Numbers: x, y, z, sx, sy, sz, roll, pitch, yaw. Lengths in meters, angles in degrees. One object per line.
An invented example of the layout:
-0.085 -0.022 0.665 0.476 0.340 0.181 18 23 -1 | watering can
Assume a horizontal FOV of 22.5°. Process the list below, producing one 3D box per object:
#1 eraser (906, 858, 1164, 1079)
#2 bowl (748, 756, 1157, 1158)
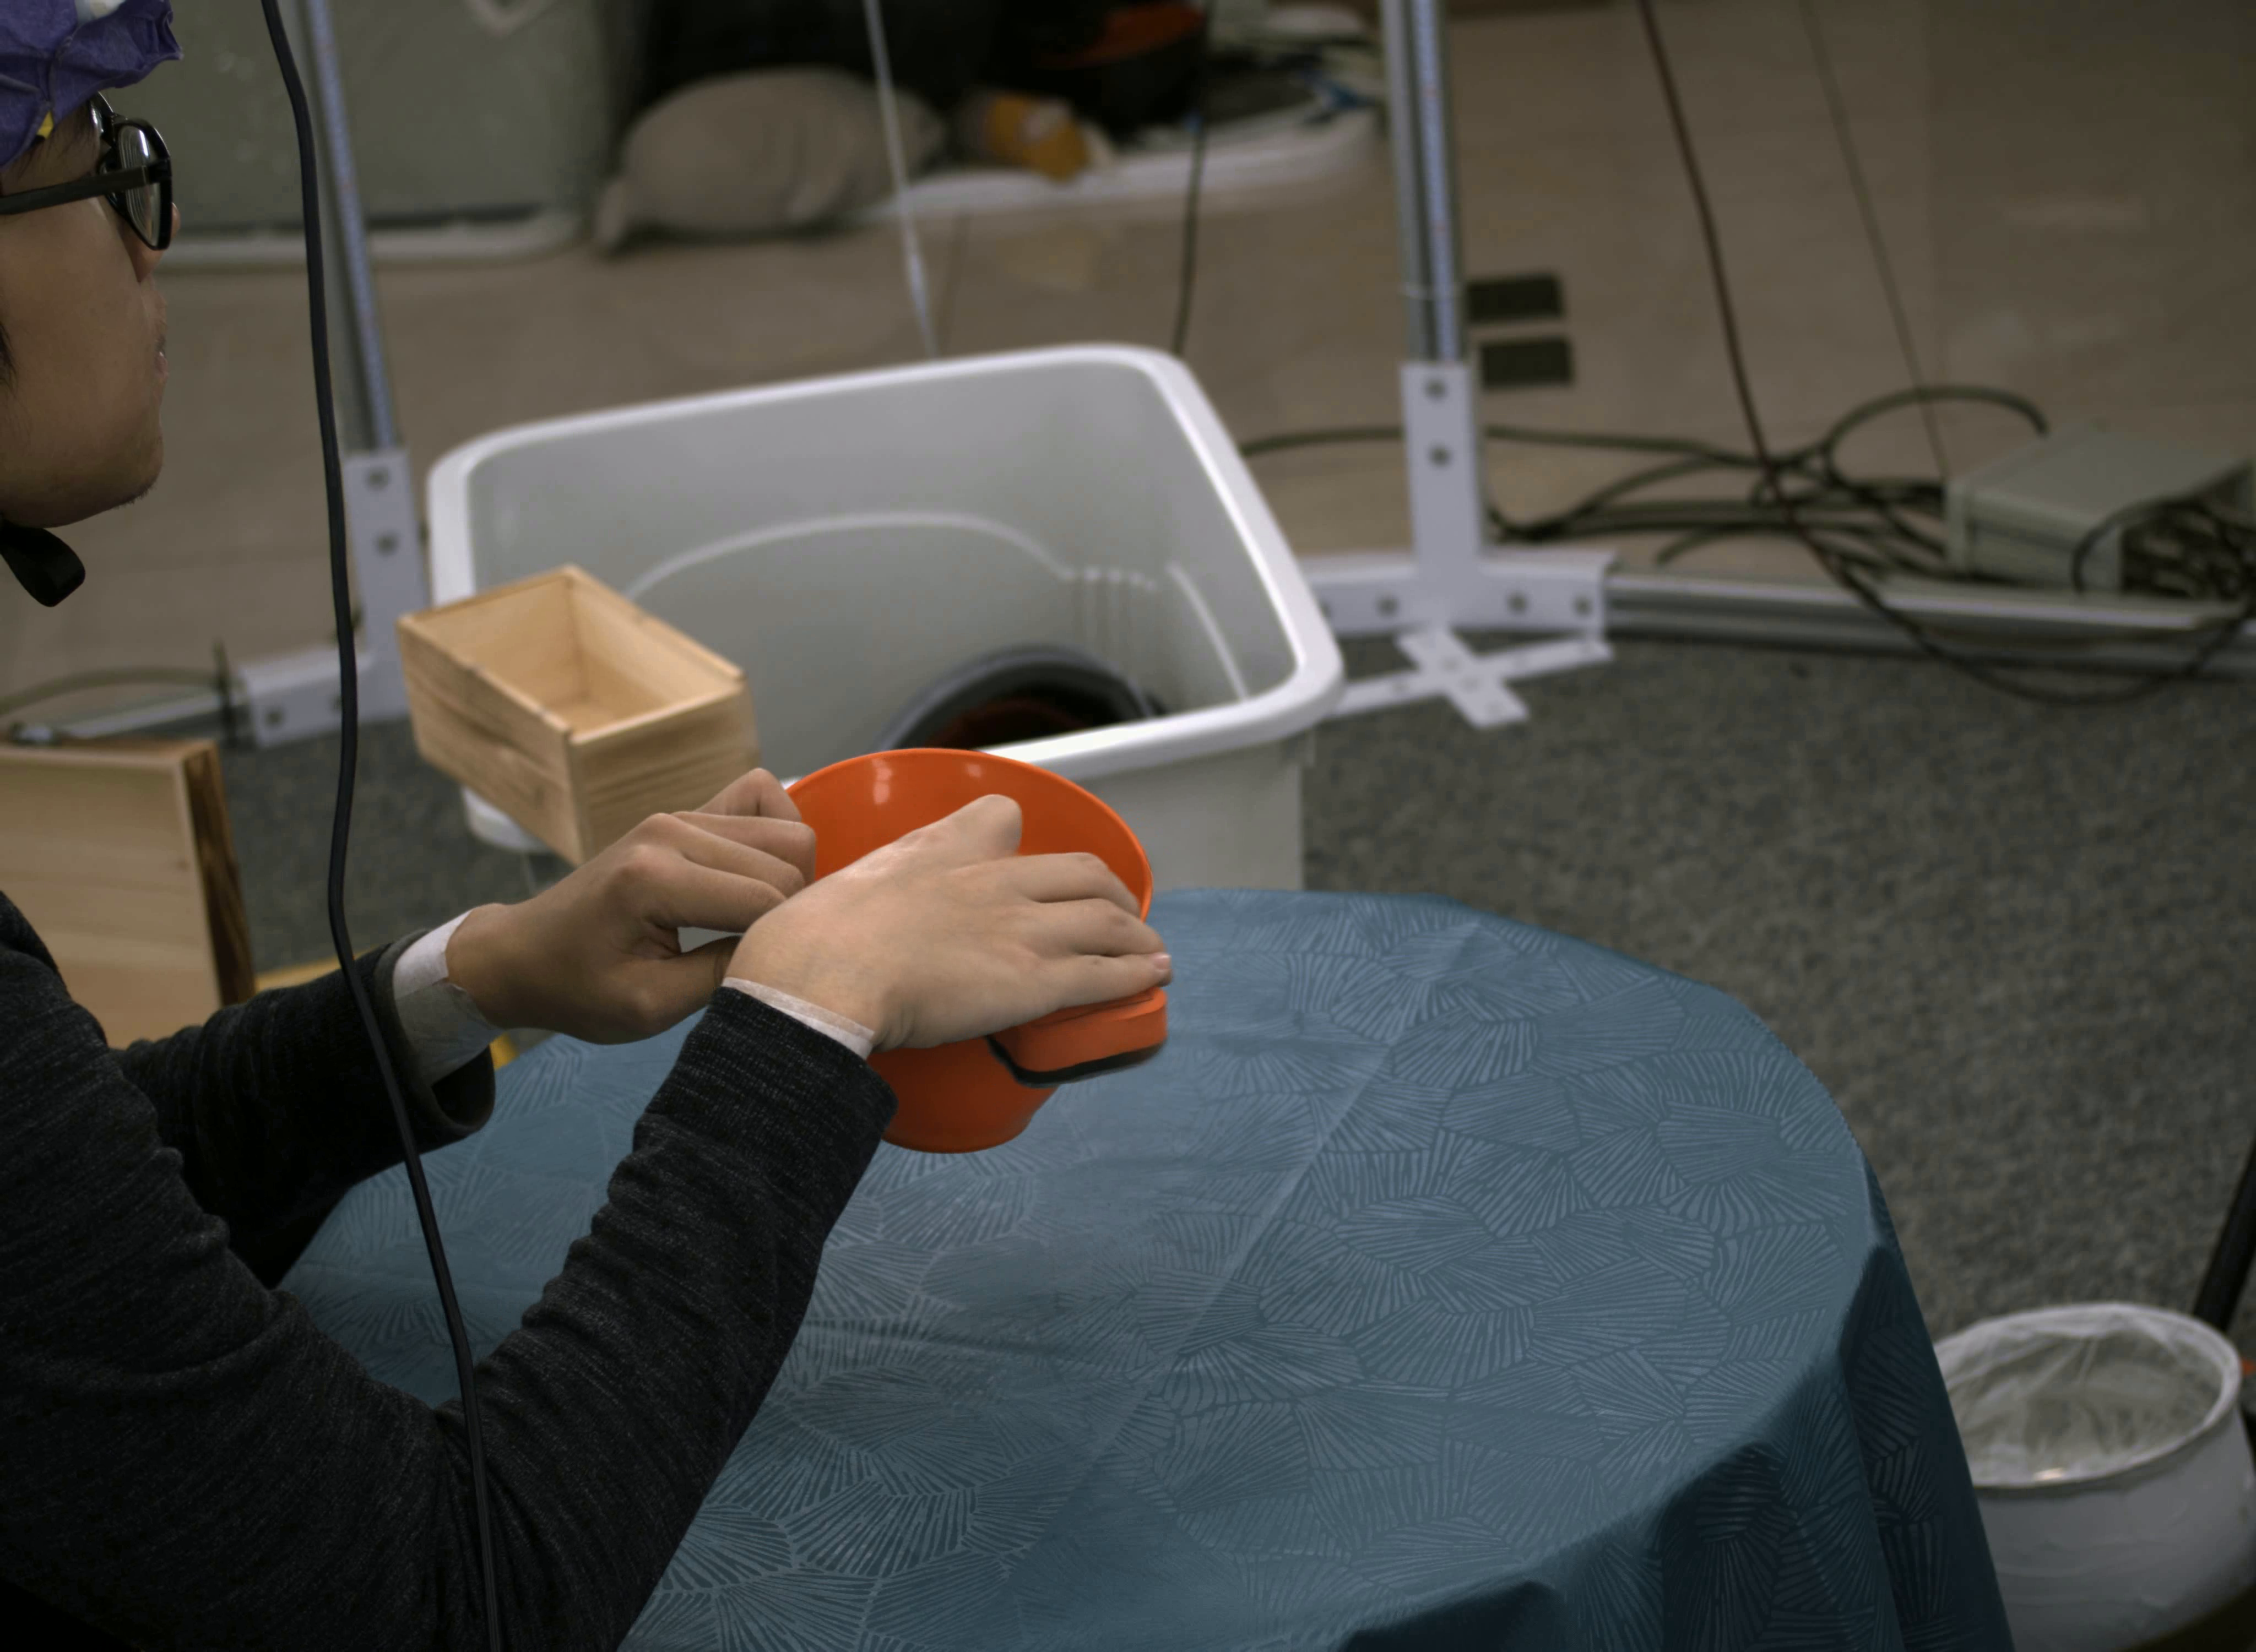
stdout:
-0.033 0.049 1.969 0.059 0.023 0.106 -12 33 -22 | eraser
-0.065 0.054 2.052 0.148 0.106 0.146 3 28 -1 | bowl
